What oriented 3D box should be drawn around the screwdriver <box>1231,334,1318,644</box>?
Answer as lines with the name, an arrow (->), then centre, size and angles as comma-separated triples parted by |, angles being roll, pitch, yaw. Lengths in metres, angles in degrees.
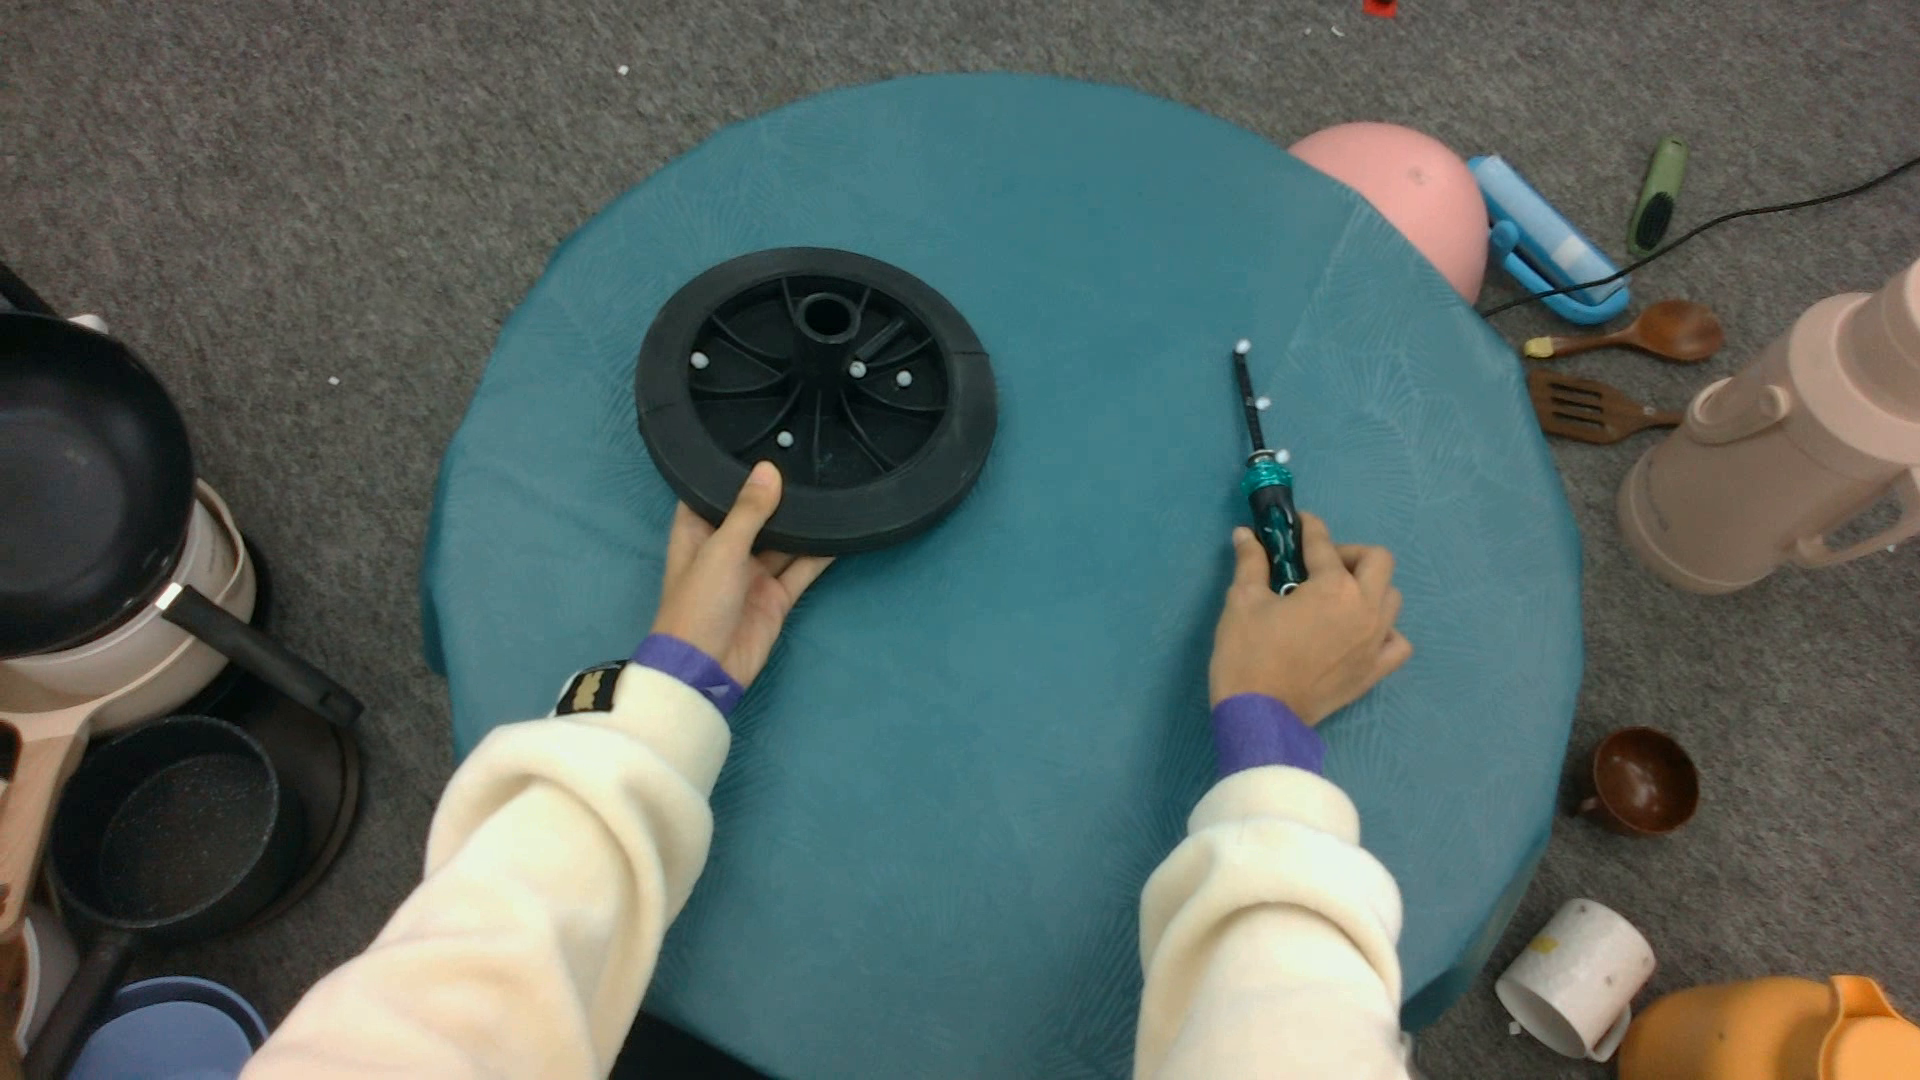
screwdriver -> 0.160, -0.034, 0.728 | 0.034, 0.033, 0.191 | -1, 59, -4

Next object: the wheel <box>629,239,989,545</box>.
wheel -> -0.074, -0.094, 0.703 | 0.187, 0.079, 0.191 | 19, 57, 1
